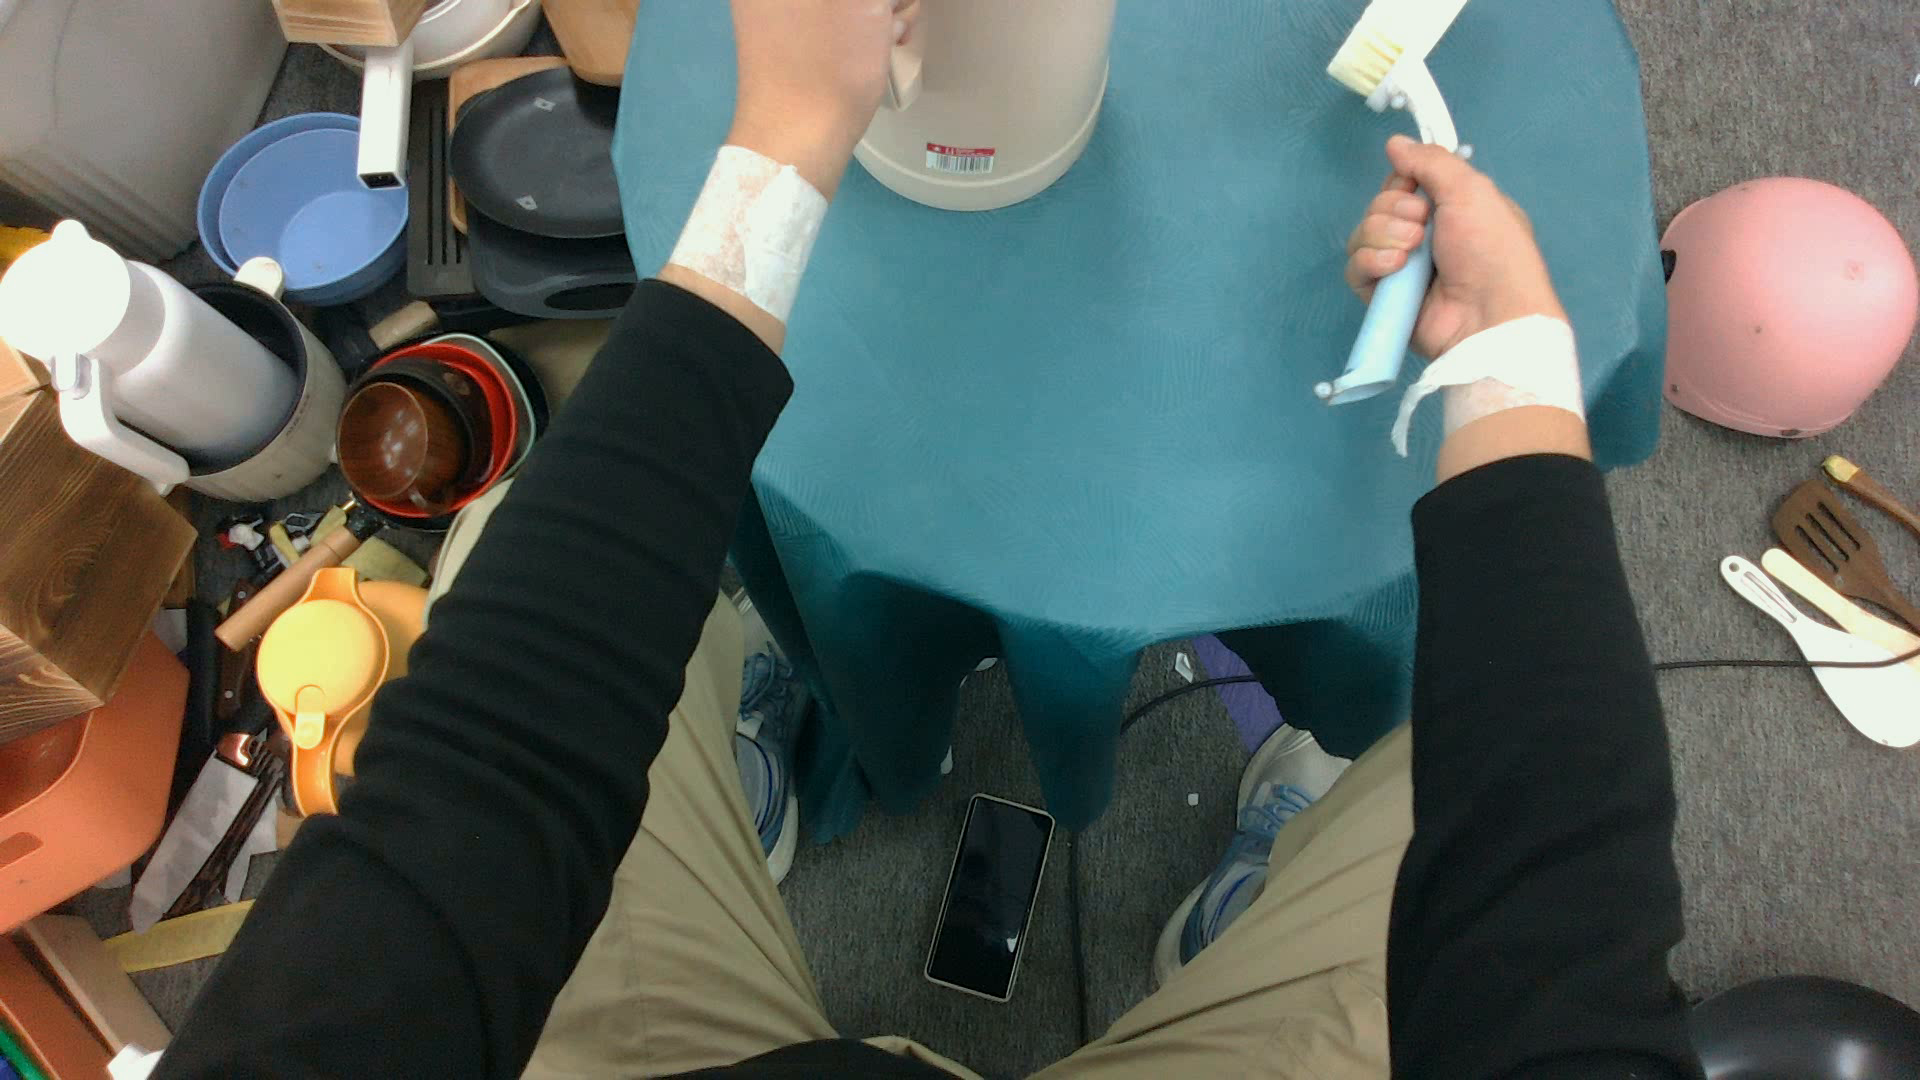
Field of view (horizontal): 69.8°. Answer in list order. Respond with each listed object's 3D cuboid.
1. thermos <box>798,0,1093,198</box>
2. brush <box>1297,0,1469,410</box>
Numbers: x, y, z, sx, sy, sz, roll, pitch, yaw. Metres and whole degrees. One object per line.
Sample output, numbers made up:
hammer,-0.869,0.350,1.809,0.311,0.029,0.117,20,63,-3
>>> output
thermos,-0.011,-0.303,0.610,0.175,0.405,0.207,25,77,3
brush,0.207,-0.213,0.721,0.084,0.083,0.327,10,62,31
